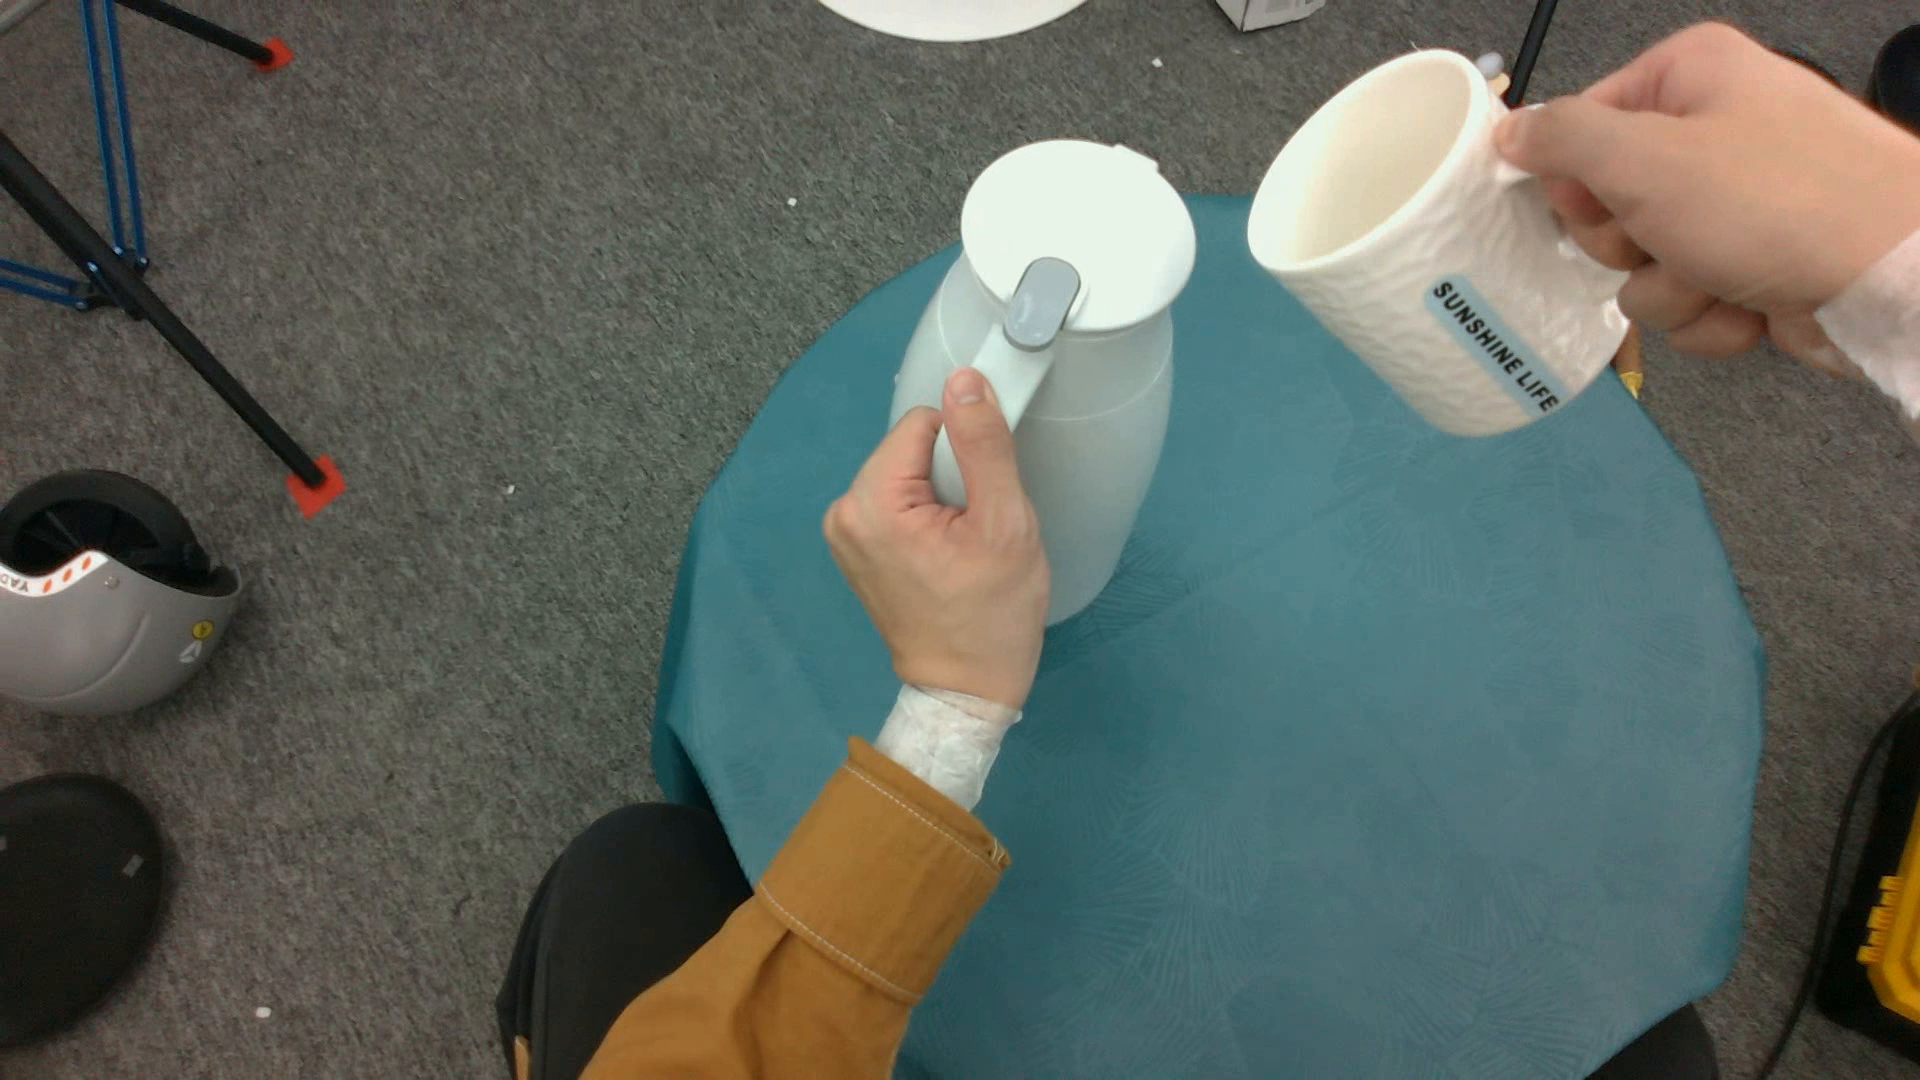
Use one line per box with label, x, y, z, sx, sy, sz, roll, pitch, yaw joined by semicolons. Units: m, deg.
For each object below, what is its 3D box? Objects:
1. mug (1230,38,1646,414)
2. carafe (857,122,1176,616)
mug;0.166;-0.103;0.456;0.102;0.118;0.085;35;69;-30
carafe;0.018;-0.058;0.622;0.132;0.247;0.168;26;63;5
